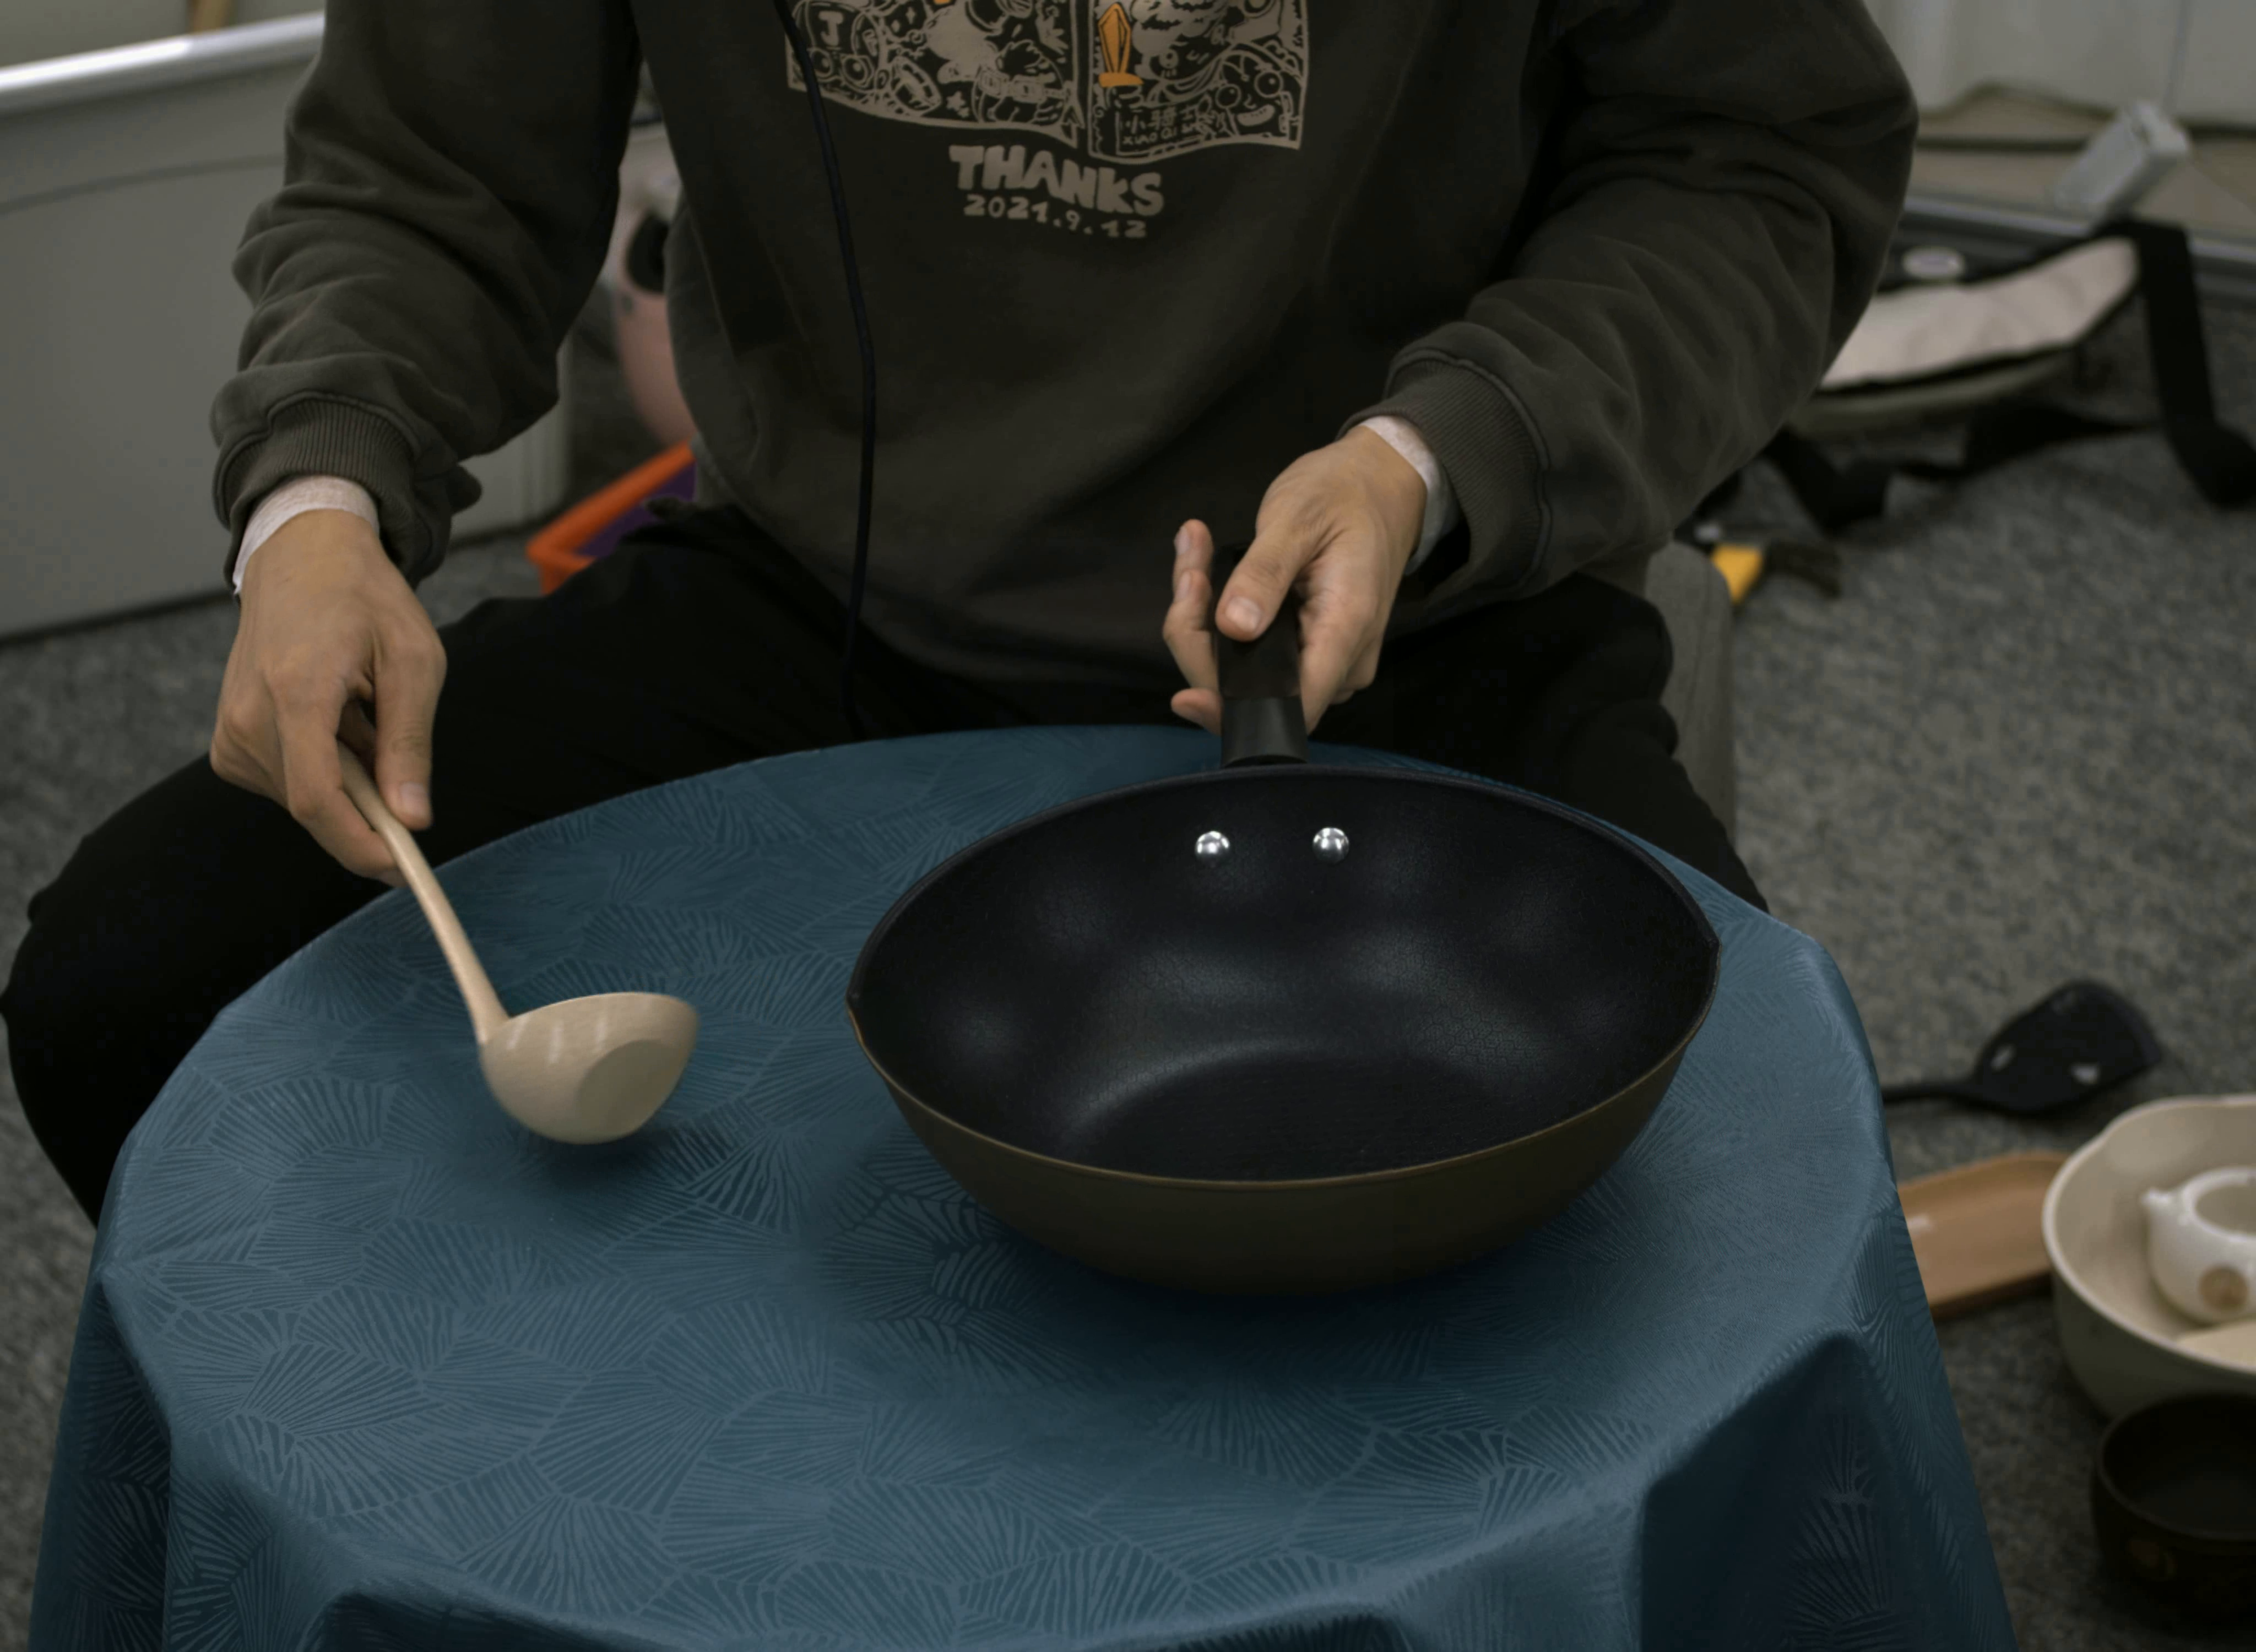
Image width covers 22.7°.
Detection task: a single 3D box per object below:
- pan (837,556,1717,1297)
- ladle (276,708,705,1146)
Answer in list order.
[{"bbox_3d":[0.049,0.036,1.930,0.287,0.086,0.470,-3,27,1],"label":"pan"},{"bbox_3d":[-0.225,0.012,1.944,0.072,0.072,0.257,9,33,-43],"label":"ladle"}]
